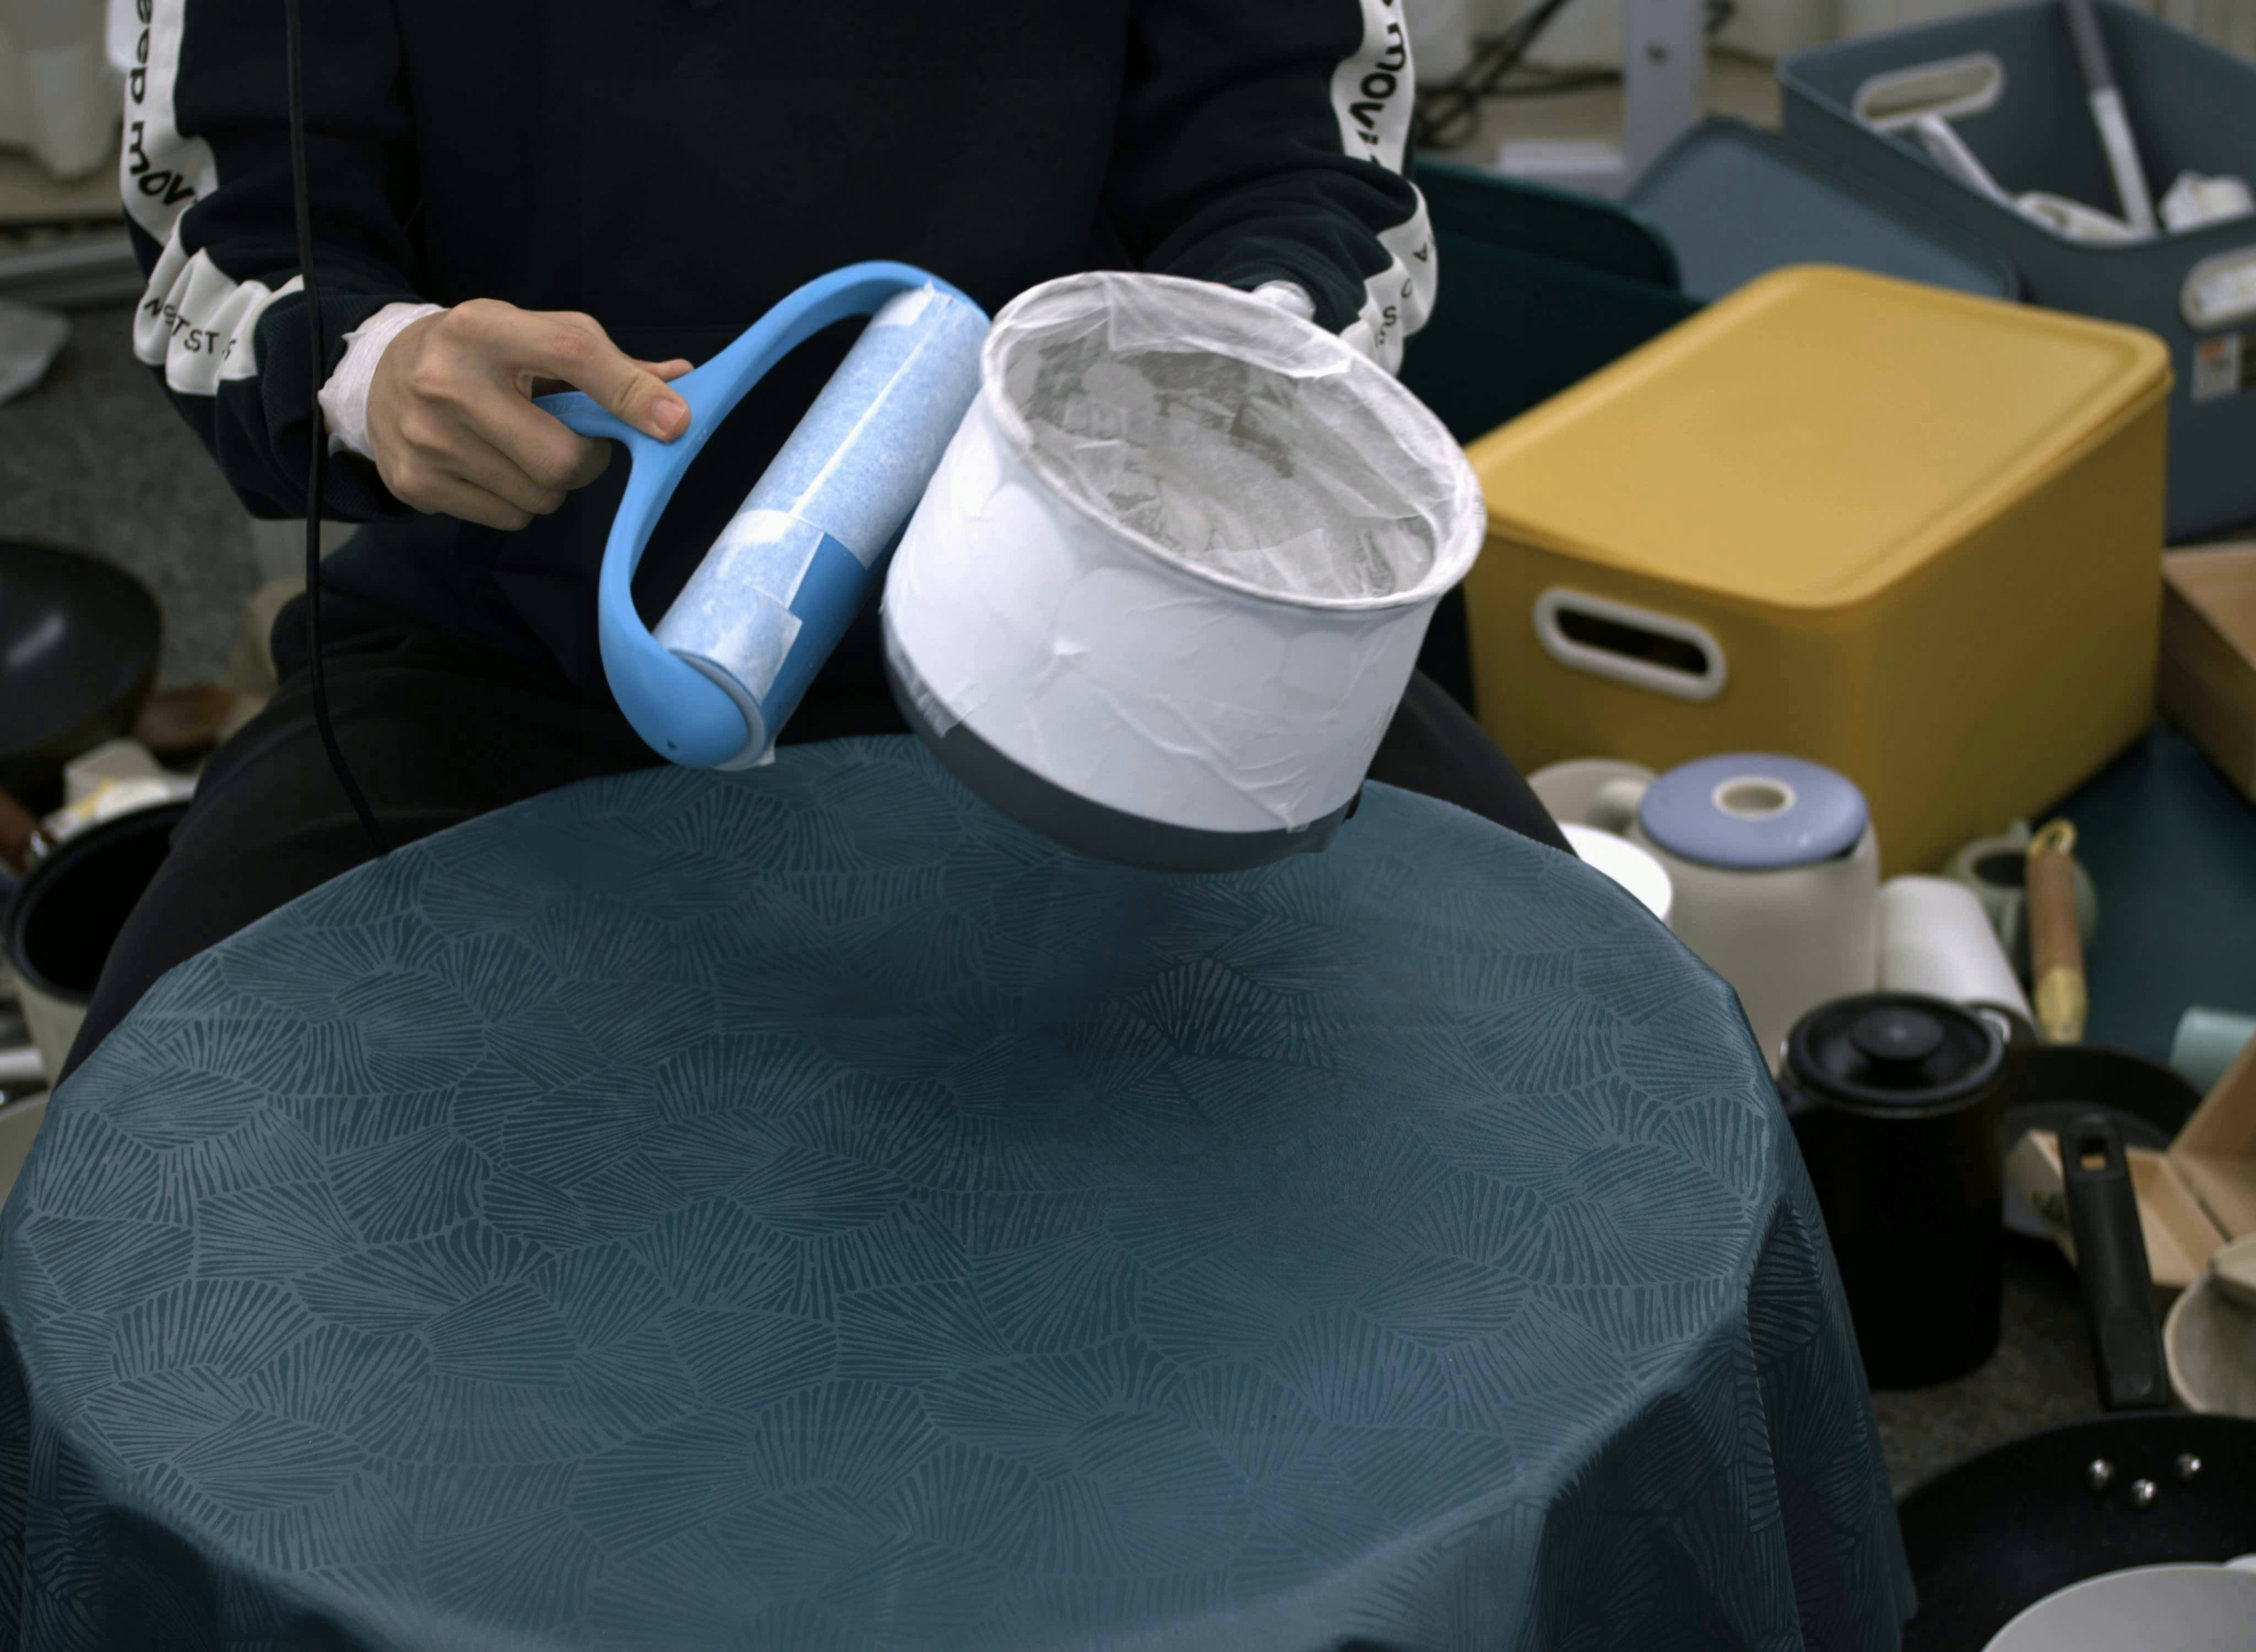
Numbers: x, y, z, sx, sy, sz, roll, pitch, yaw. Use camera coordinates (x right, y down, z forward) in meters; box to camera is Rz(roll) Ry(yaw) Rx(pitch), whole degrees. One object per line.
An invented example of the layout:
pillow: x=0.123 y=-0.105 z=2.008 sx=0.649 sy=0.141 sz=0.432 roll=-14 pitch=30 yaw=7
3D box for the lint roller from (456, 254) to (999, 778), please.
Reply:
lint roller: x=-0.155 y=-0.118 z=1.941 sx=0.179 sy=0.067 sz=0.233 roll=13 pitch=51 yaw=15

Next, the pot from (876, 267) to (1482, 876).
pot: x=0.017 y=-0.096 z=1.897 sx=0.178 sy=0.134 sz=0.238 roll=23 pitch=35 yaw=-3
